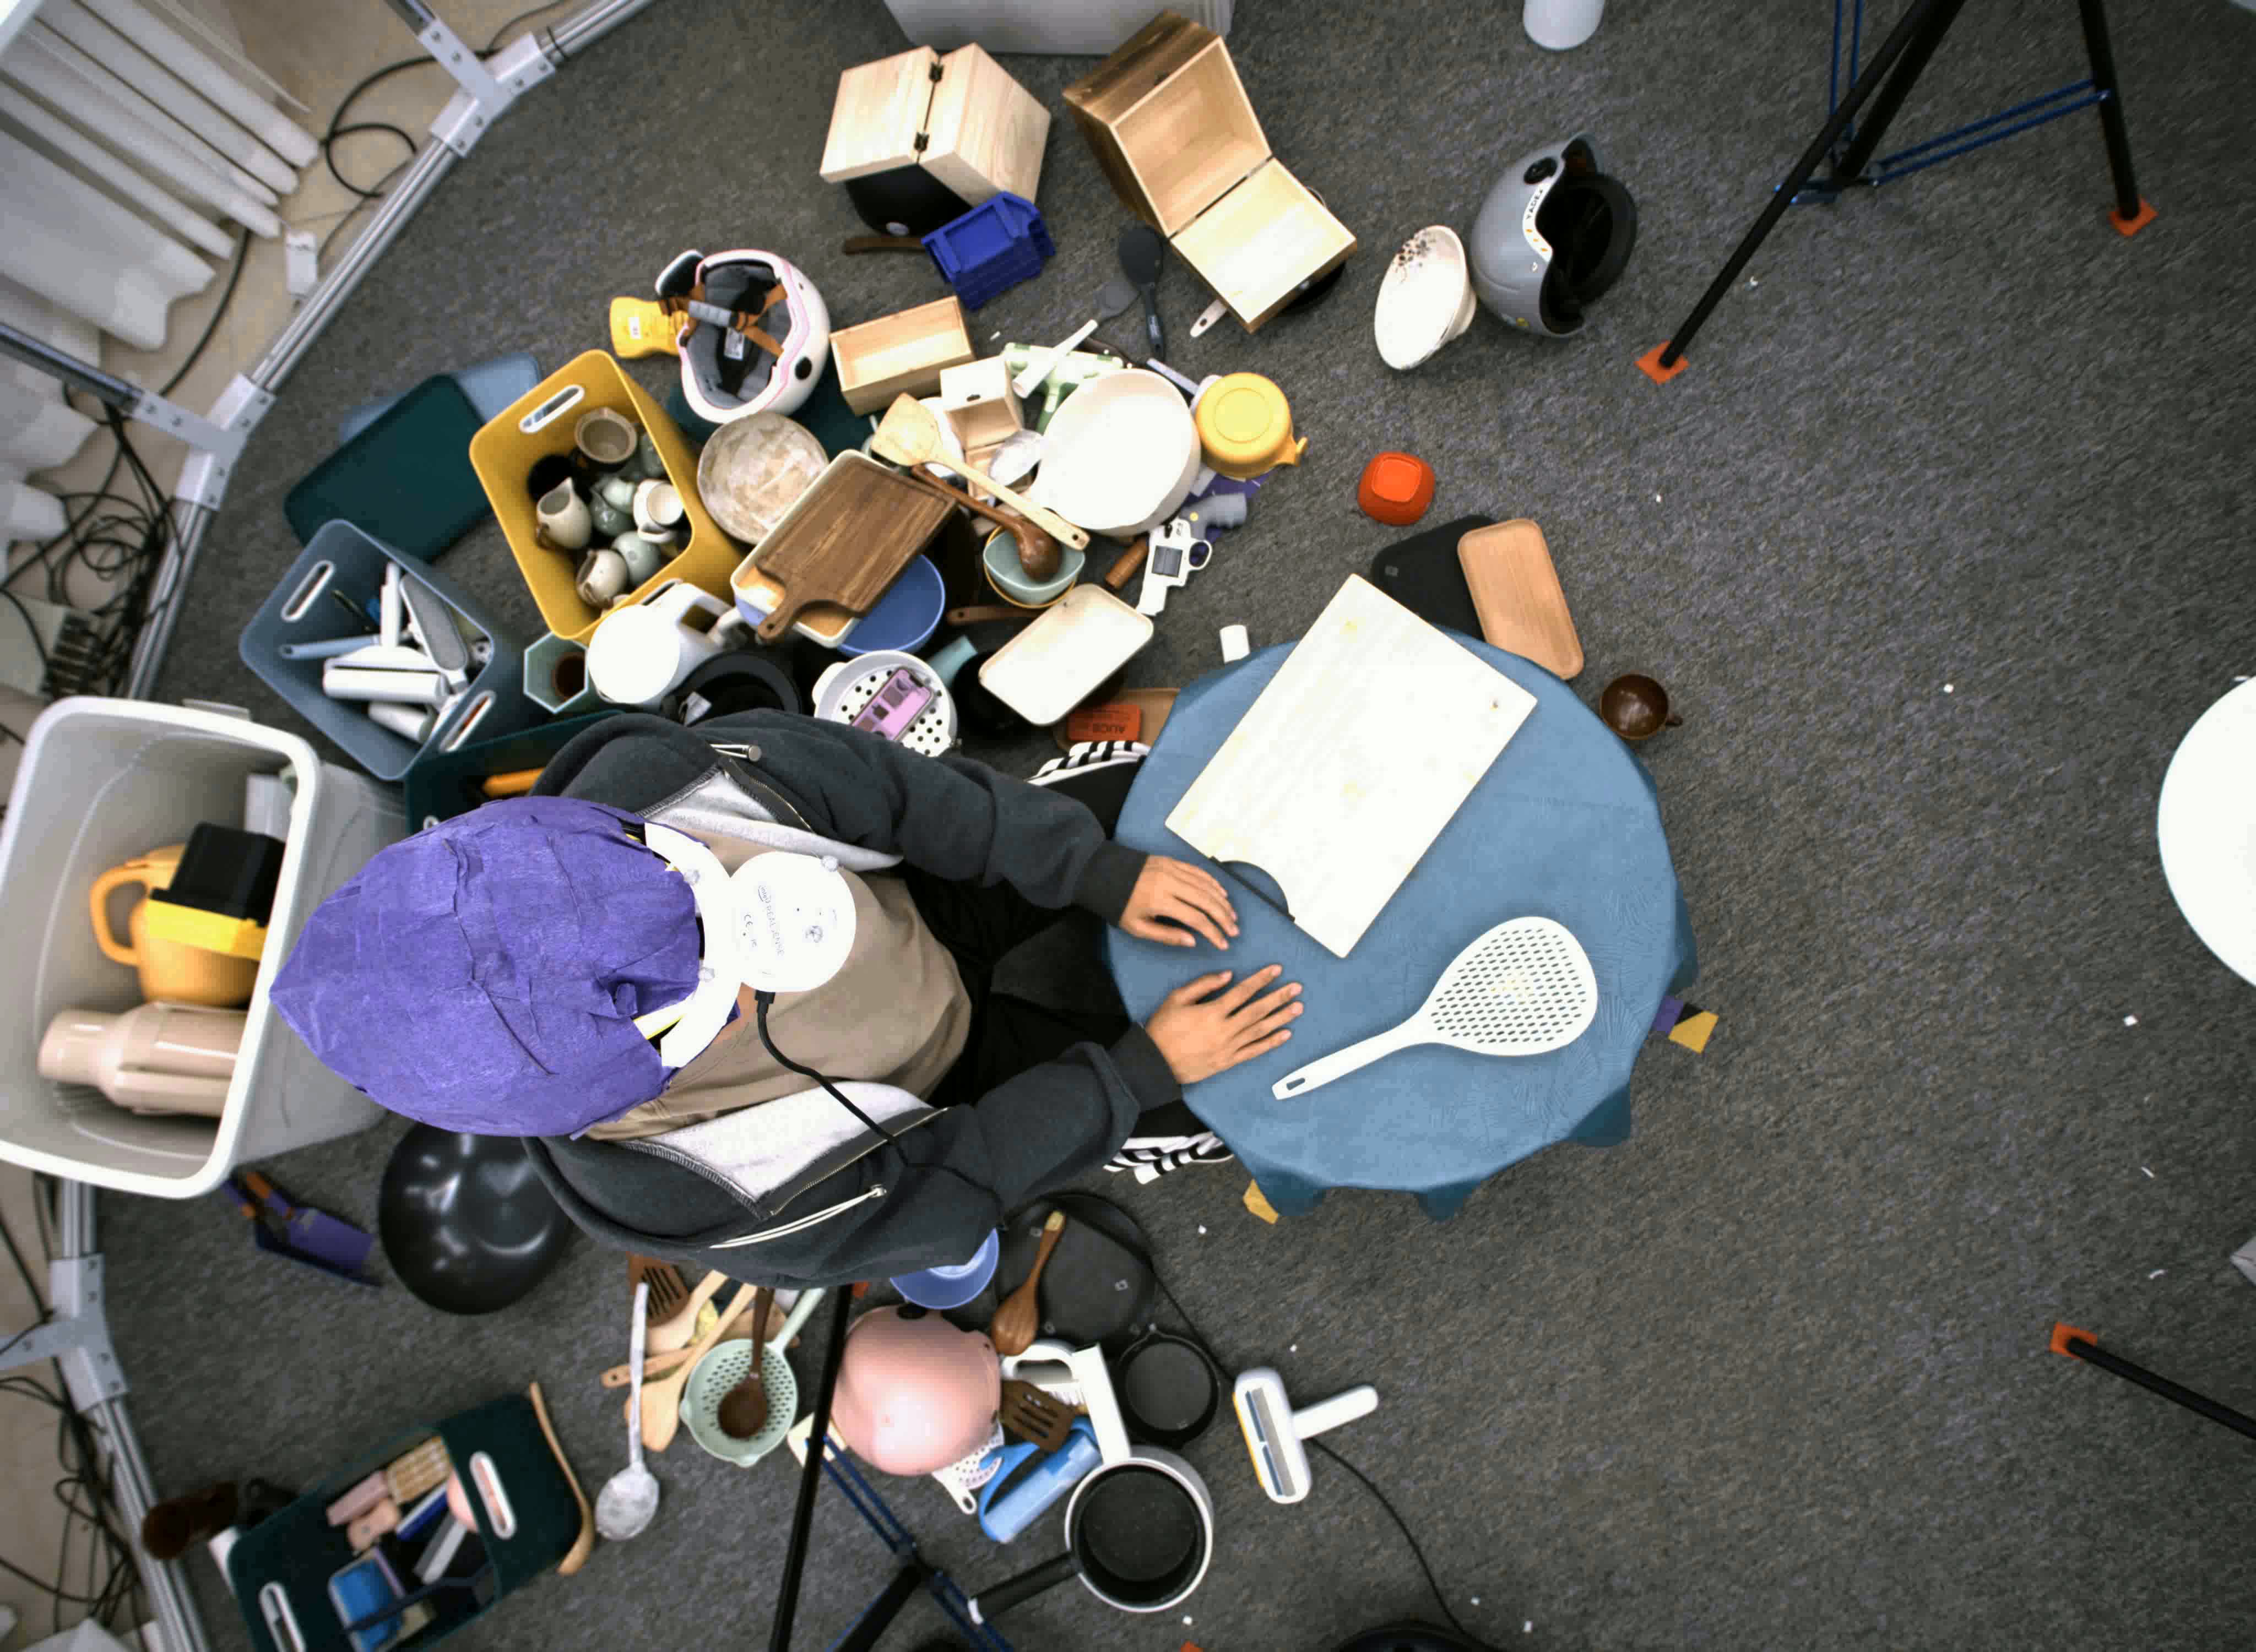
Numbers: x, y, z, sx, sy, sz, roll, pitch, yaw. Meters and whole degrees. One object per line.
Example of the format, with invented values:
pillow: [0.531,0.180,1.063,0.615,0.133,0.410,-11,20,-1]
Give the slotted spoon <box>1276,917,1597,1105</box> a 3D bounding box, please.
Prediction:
slotted spoon: [0.308,0.206,1.424,0.350,0.050,0.136,-25,84,8]

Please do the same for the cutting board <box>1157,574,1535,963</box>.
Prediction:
cutting board: [0.231,-0.064,1.466,0.250,0.023,0.349,36,94,11]
